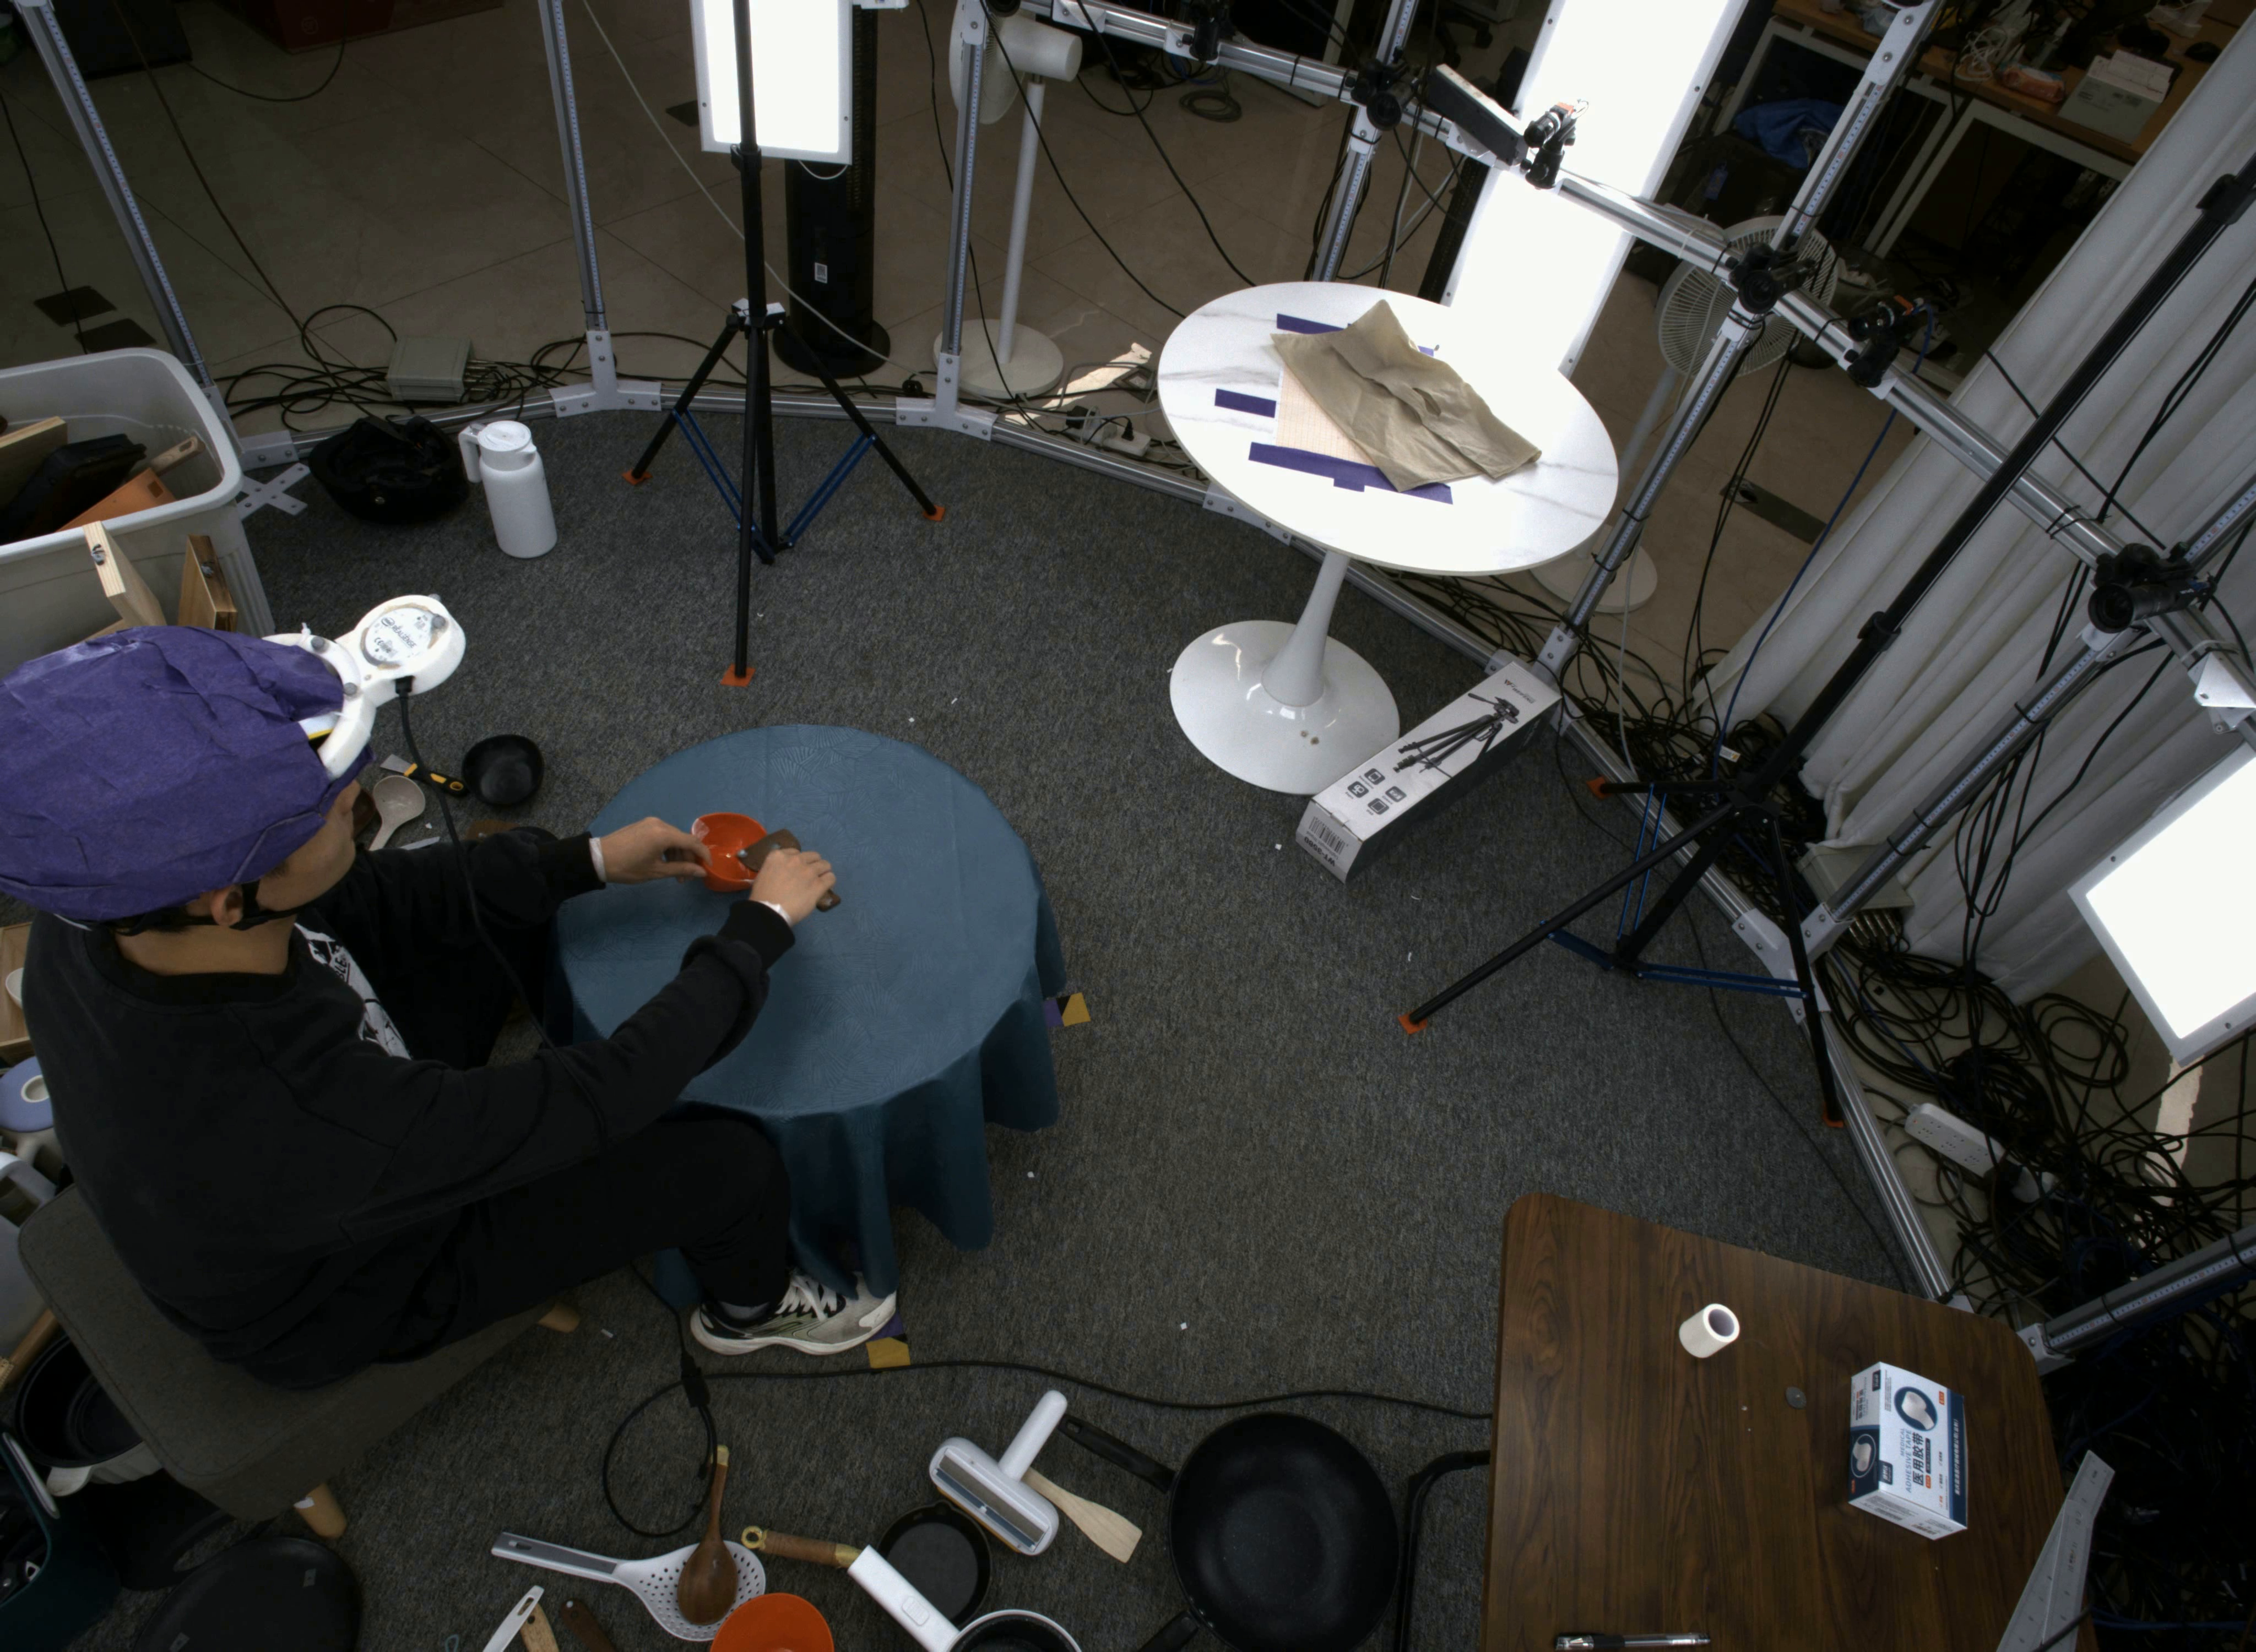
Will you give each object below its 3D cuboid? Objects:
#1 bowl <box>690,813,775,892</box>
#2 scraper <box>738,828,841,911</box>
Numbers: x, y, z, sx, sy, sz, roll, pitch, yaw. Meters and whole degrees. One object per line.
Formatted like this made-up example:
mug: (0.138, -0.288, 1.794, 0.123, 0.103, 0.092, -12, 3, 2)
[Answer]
bowl: (-0.504, 0.040, 1.630, 0.121, 0.051, 0.116, 30, 34, -20)
scraper: (-0.402, 0.055, 1.565, 0.076, 0.011, 0.203, -32, 39, -25)
